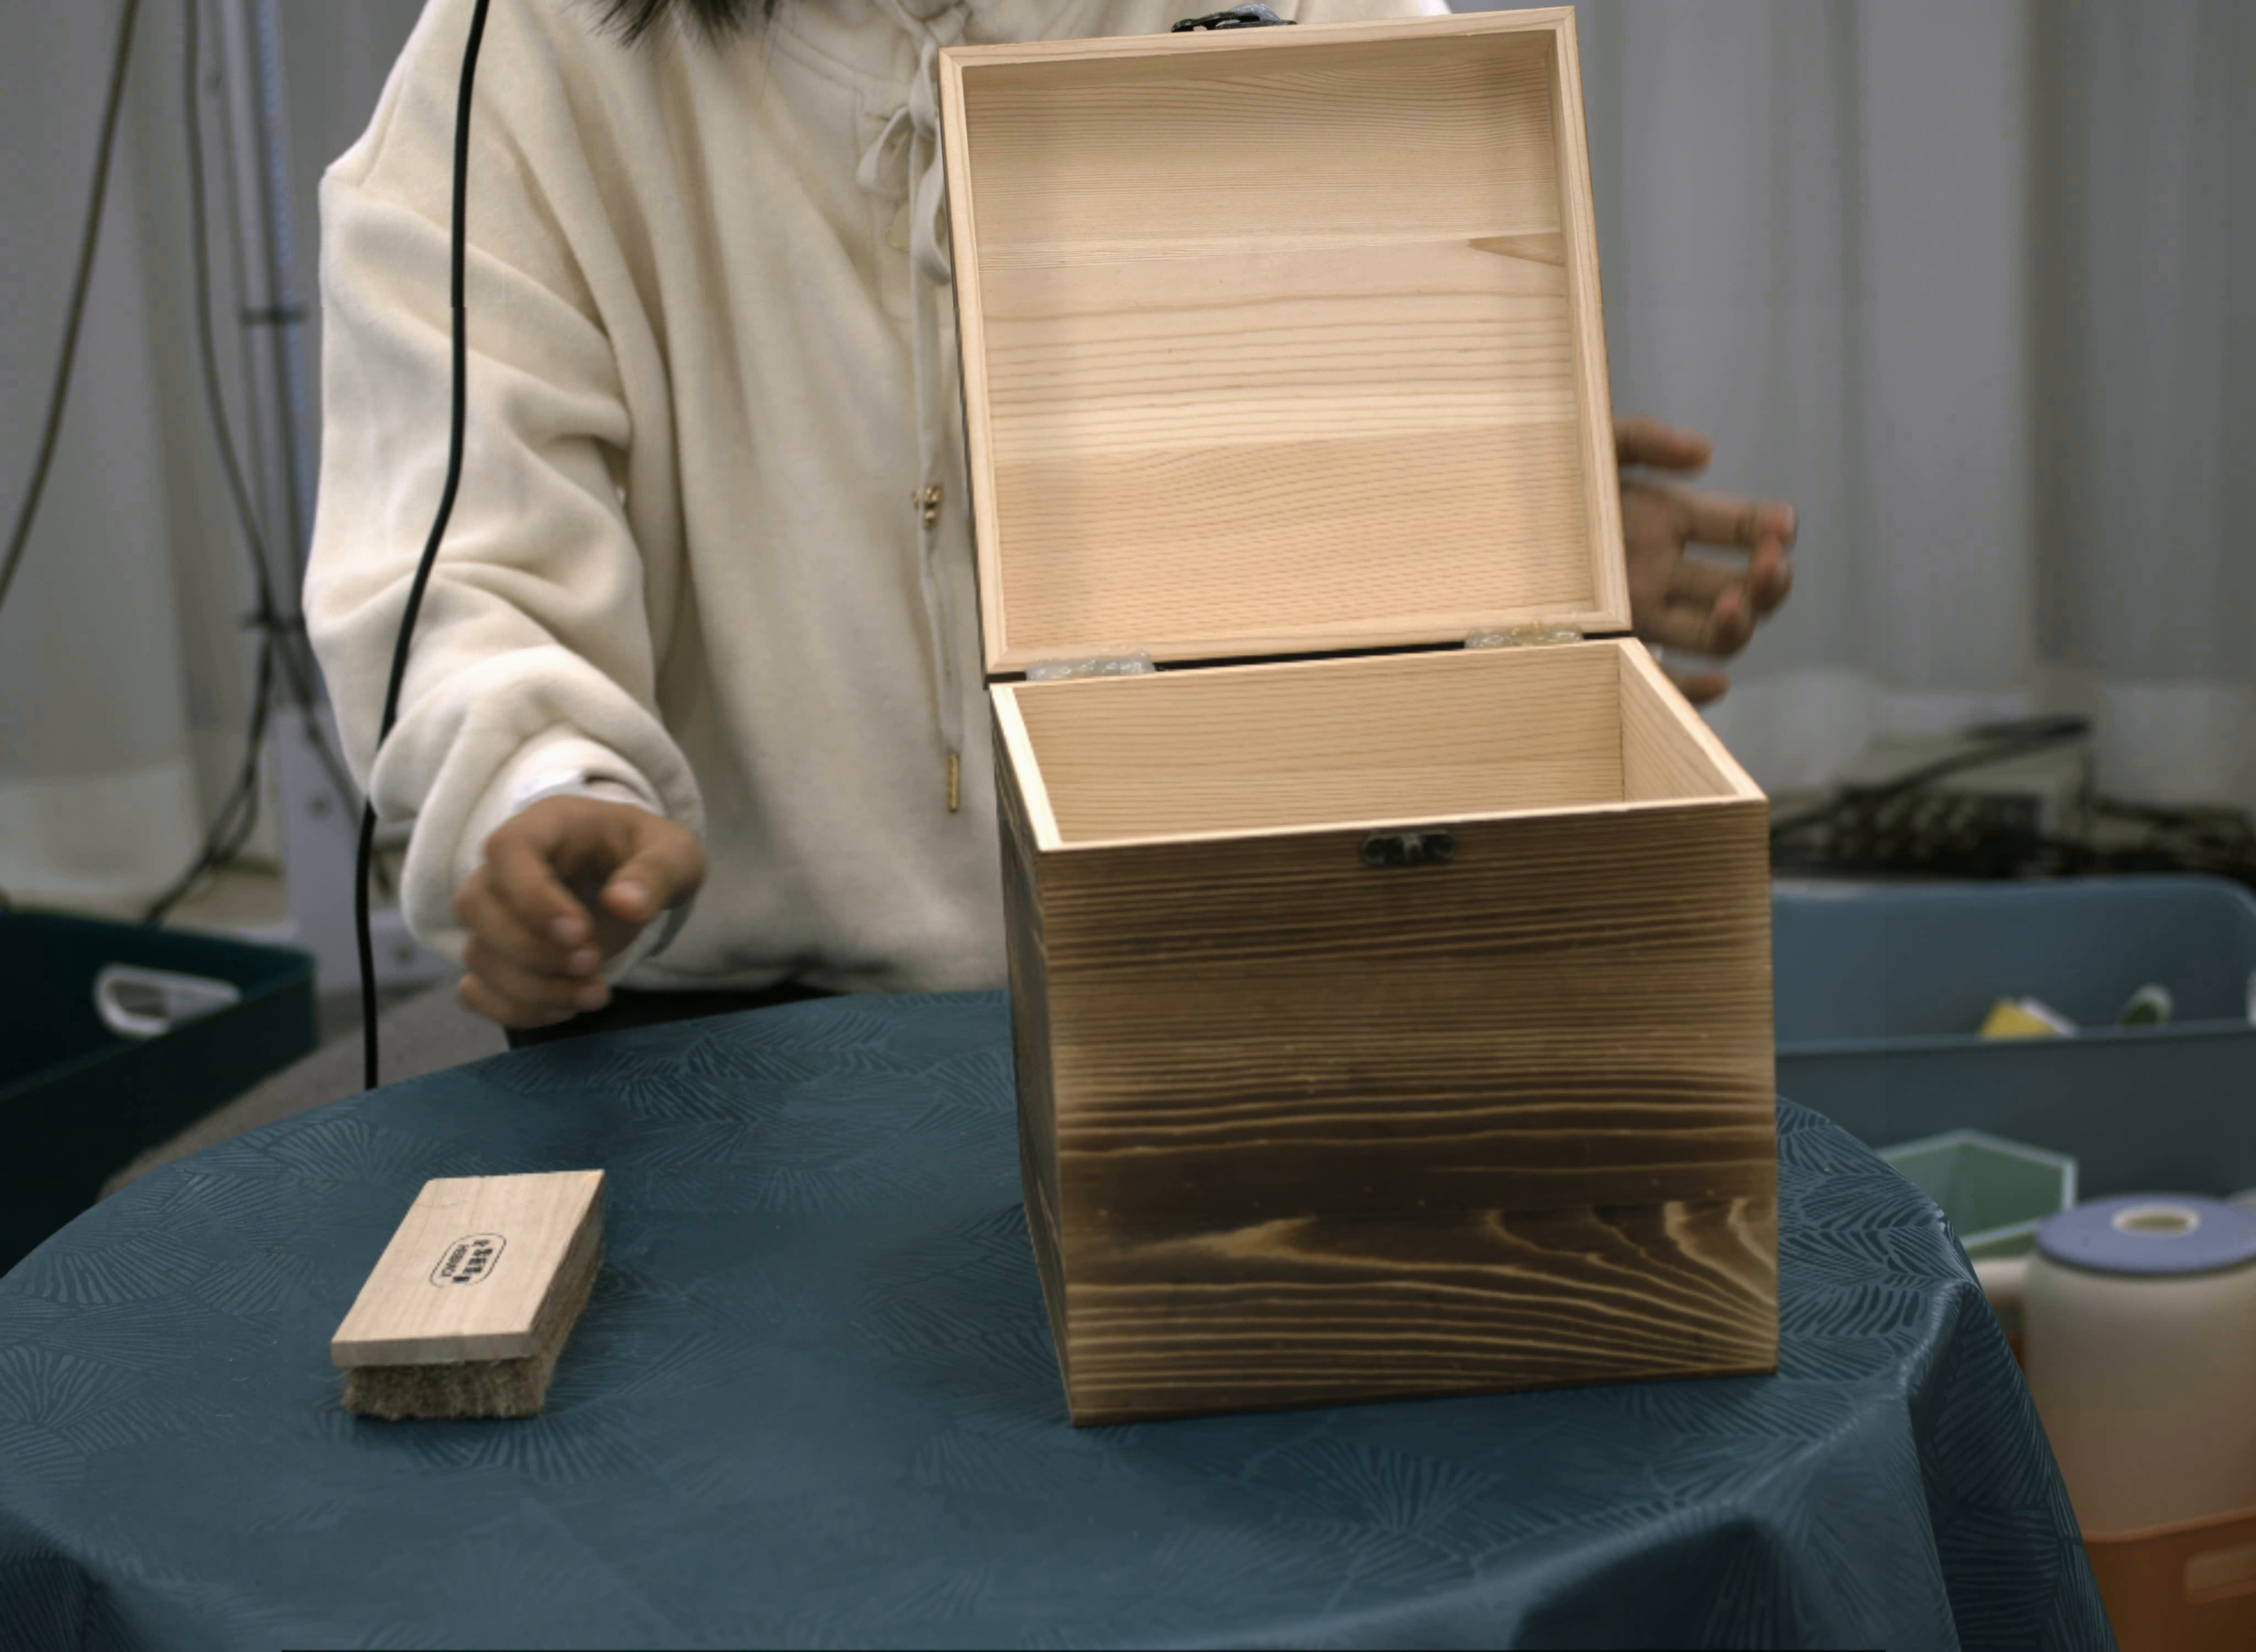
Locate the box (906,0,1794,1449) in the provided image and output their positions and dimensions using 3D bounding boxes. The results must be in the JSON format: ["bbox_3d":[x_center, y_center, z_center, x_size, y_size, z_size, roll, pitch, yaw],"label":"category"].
[{"bbox_3d":[0.058,-0.052,1.626,0.208,0.374,0.324,-5,14,-5],"label":"box"}]

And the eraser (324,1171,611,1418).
[{"bbox_3d":[-0.192,0.138,1.609,0.057,0.029,0.140,-4,14,7],"label":"eraser"}]
